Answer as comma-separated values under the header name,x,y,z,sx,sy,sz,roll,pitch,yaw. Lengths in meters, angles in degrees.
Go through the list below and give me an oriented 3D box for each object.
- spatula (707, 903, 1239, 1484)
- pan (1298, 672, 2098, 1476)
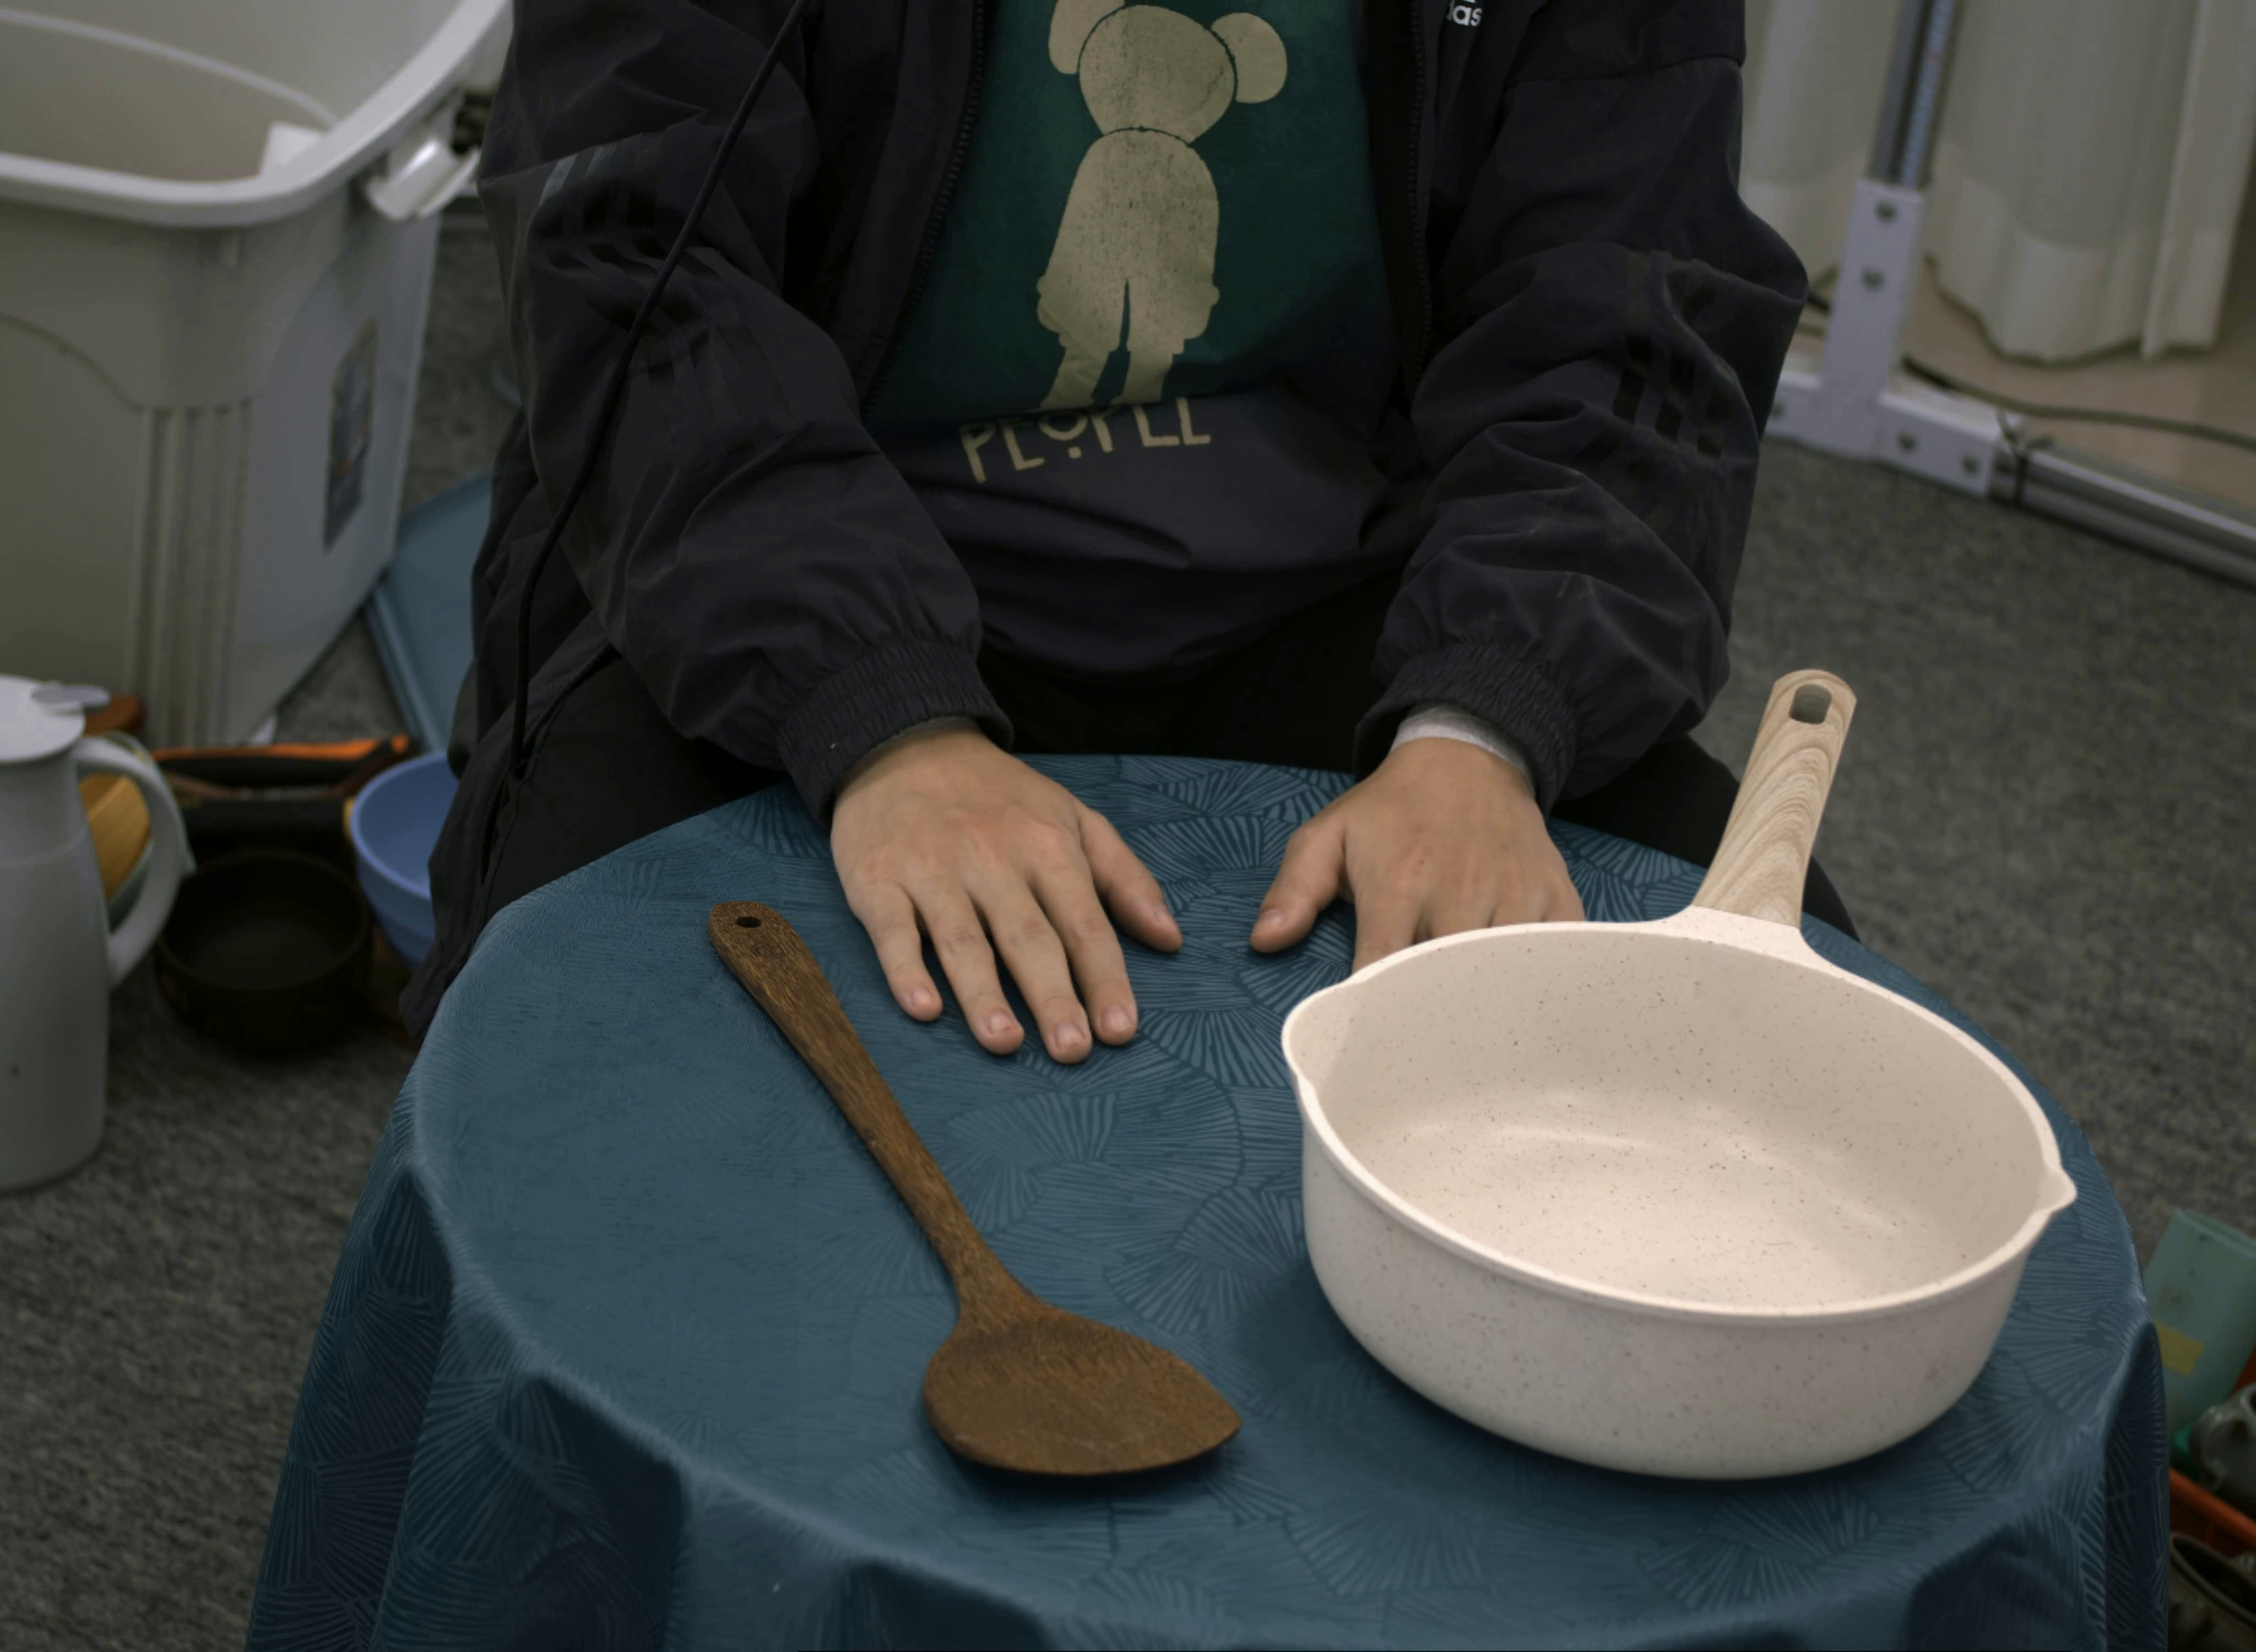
name,x,y,z,sx,sy,sz,roll,pitch,yaw
spatula,-0.074,0.114,1.791,0.095,0.016,0.389,-5,29,-22
pan,0.204,0.080,1.824,0.263,0.101,0.436,10,27,11
